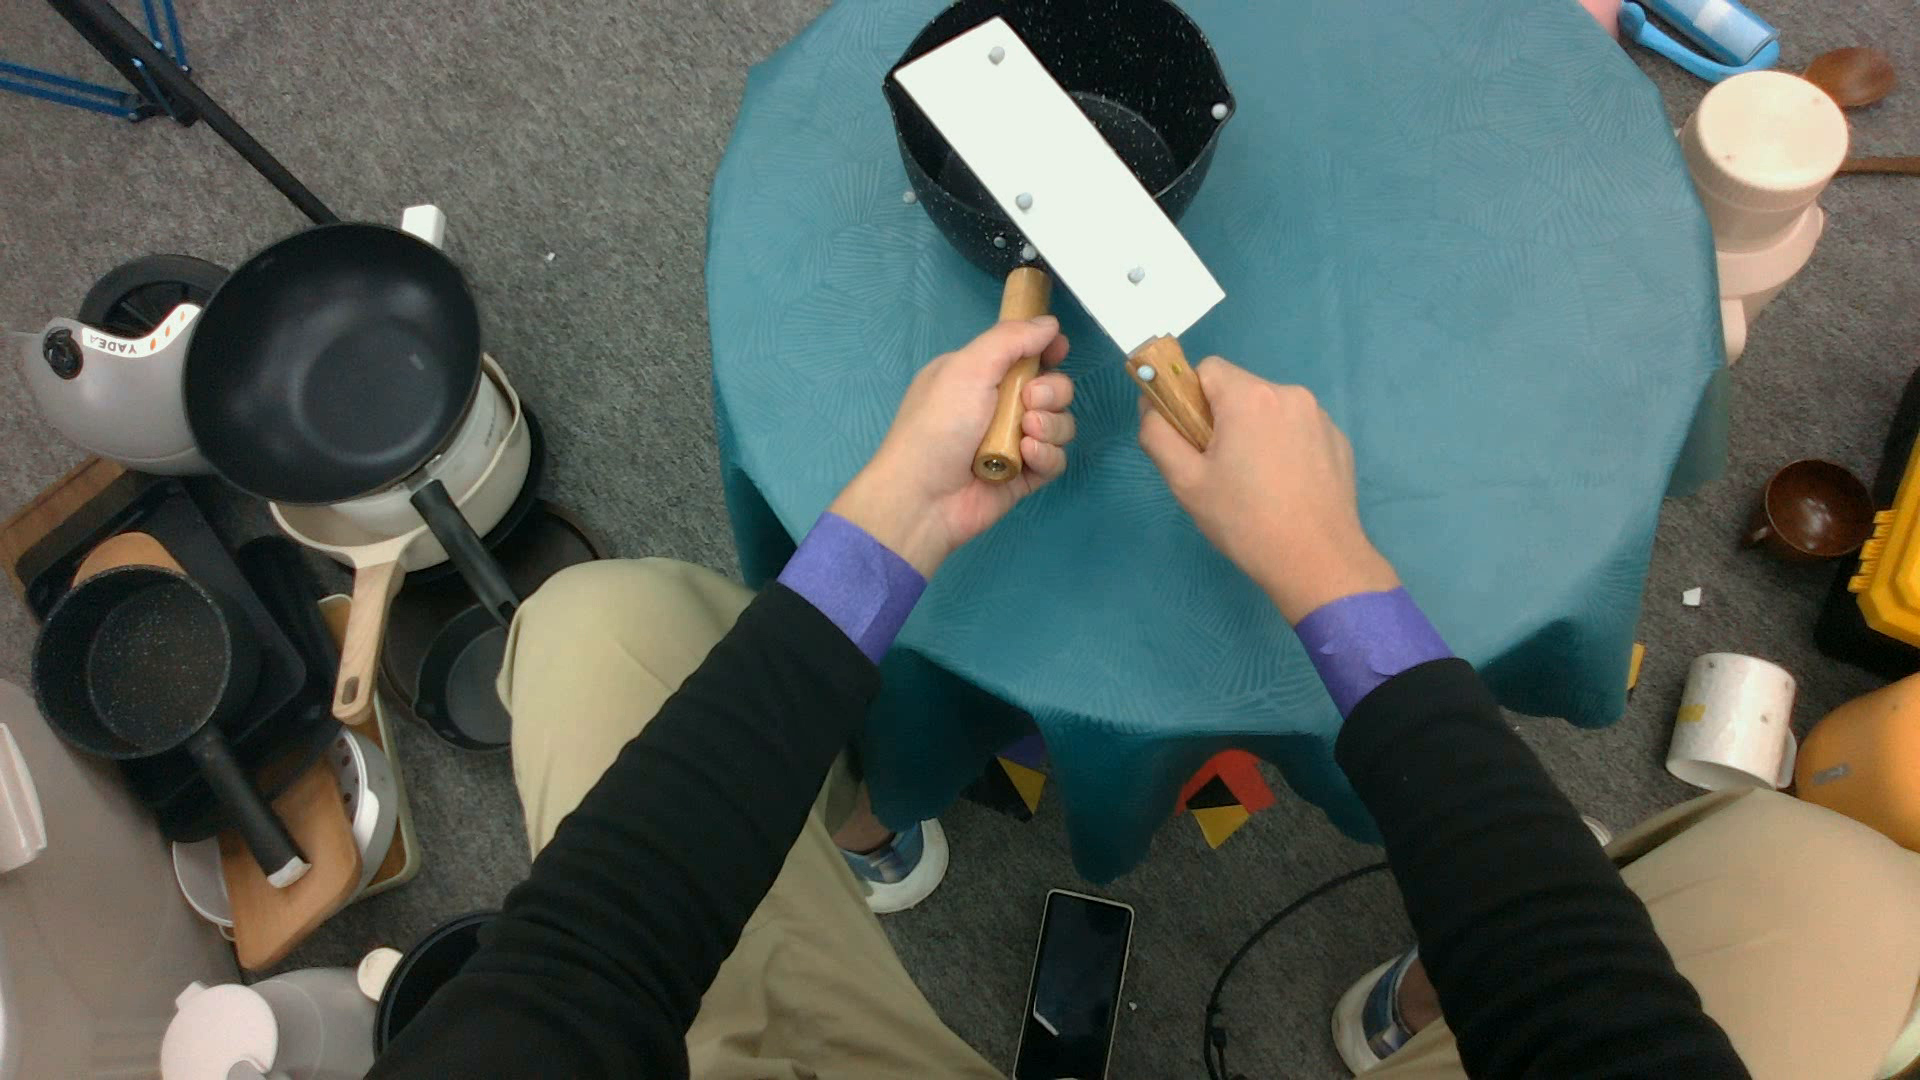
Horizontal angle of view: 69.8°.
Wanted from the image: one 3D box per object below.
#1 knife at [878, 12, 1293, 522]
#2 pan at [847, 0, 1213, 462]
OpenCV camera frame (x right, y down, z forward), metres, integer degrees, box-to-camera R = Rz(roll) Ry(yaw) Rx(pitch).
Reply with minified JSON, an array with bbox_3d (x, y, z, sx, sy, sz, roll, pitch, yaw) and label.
[{"bbox_3d":[0.079,-0.146,0.712,0.305,0.021,0.093,50,53,-3],"label":"knife"},{"bbox_3d":[0.031,-0.176,0.769,0.207,0.108,0.344,5,65,5],"label":"pan"}]
